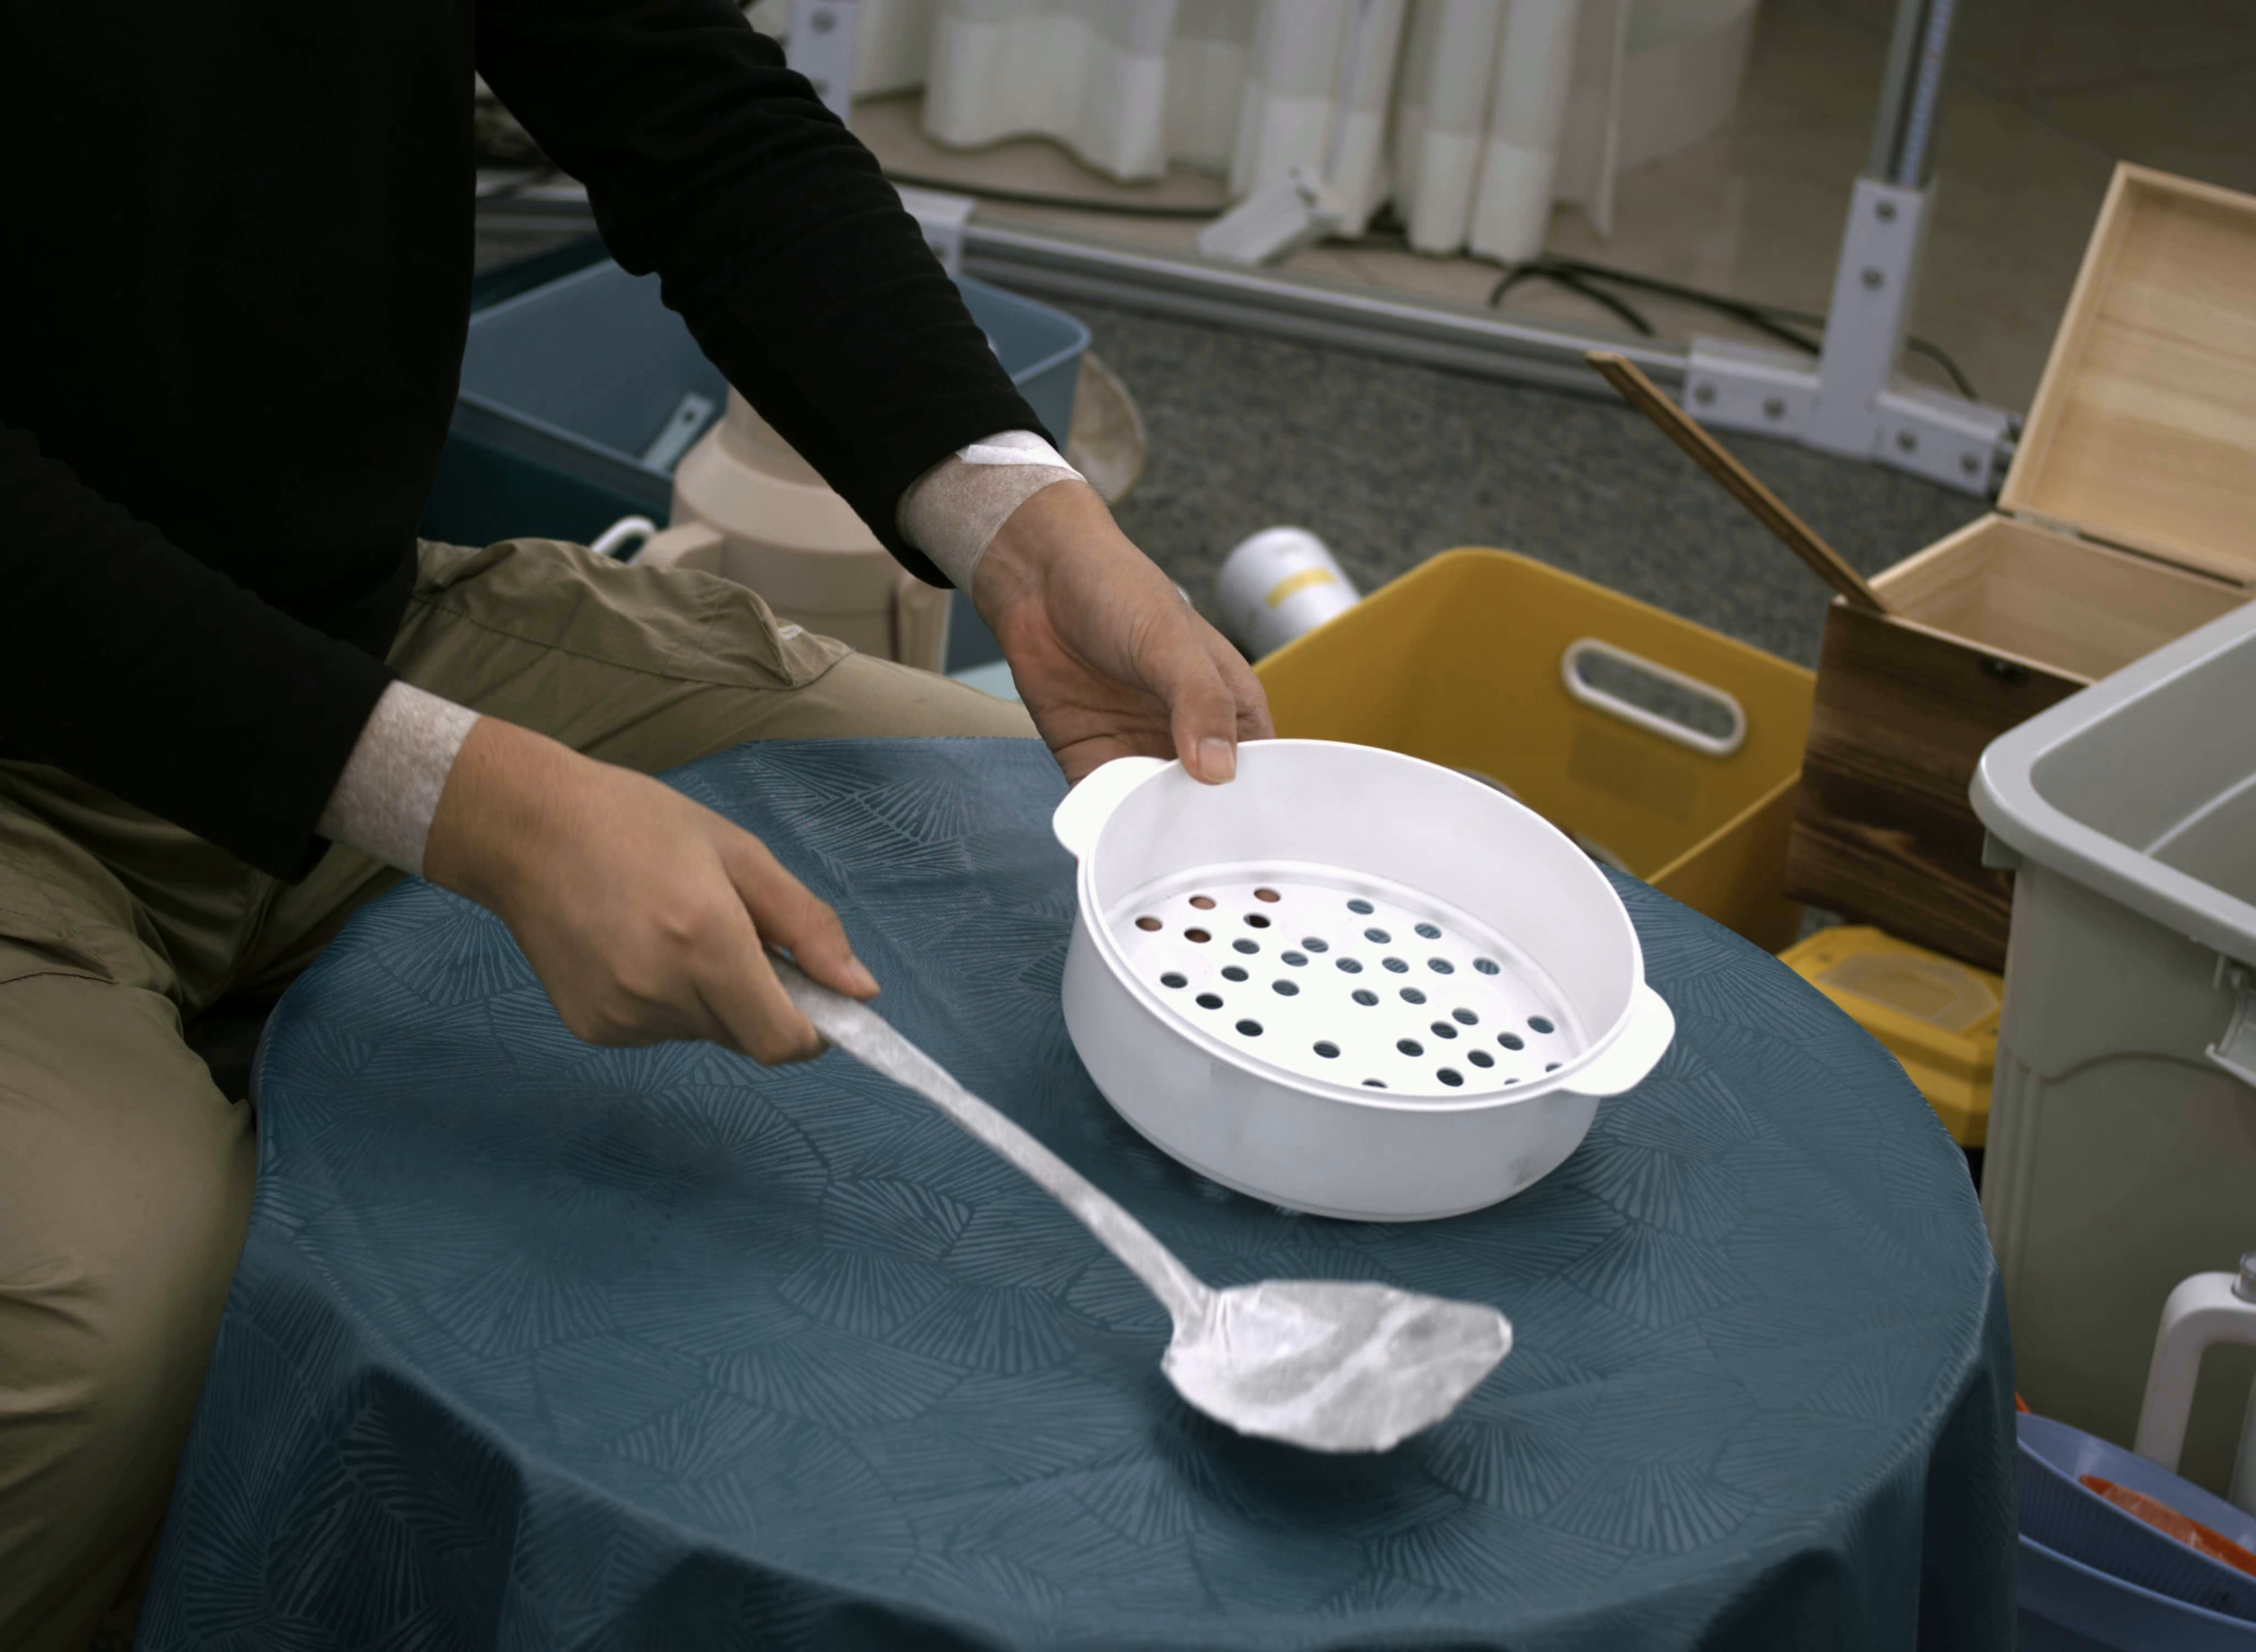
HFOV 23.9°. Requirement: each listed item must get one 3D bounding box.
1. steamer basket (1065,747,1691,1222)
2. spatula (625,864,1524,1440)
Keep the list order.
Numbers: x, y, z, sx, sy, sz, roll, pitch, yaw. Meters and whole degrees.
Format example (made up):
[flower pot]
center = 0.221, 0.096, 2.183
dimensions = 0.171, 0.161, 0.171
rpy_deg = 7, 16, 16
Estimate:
[steamer basket]
center = 0.080, 0.056, 1.852
dimensions = 0.231, 0.069, 0.202
rpy_deg = 25, 37, 18
[spatula]
center = -0.036, 0.095, 1.723
dimensions = 0.367, 0.044, 0.098
rpy_deg = 34, 43, 25
